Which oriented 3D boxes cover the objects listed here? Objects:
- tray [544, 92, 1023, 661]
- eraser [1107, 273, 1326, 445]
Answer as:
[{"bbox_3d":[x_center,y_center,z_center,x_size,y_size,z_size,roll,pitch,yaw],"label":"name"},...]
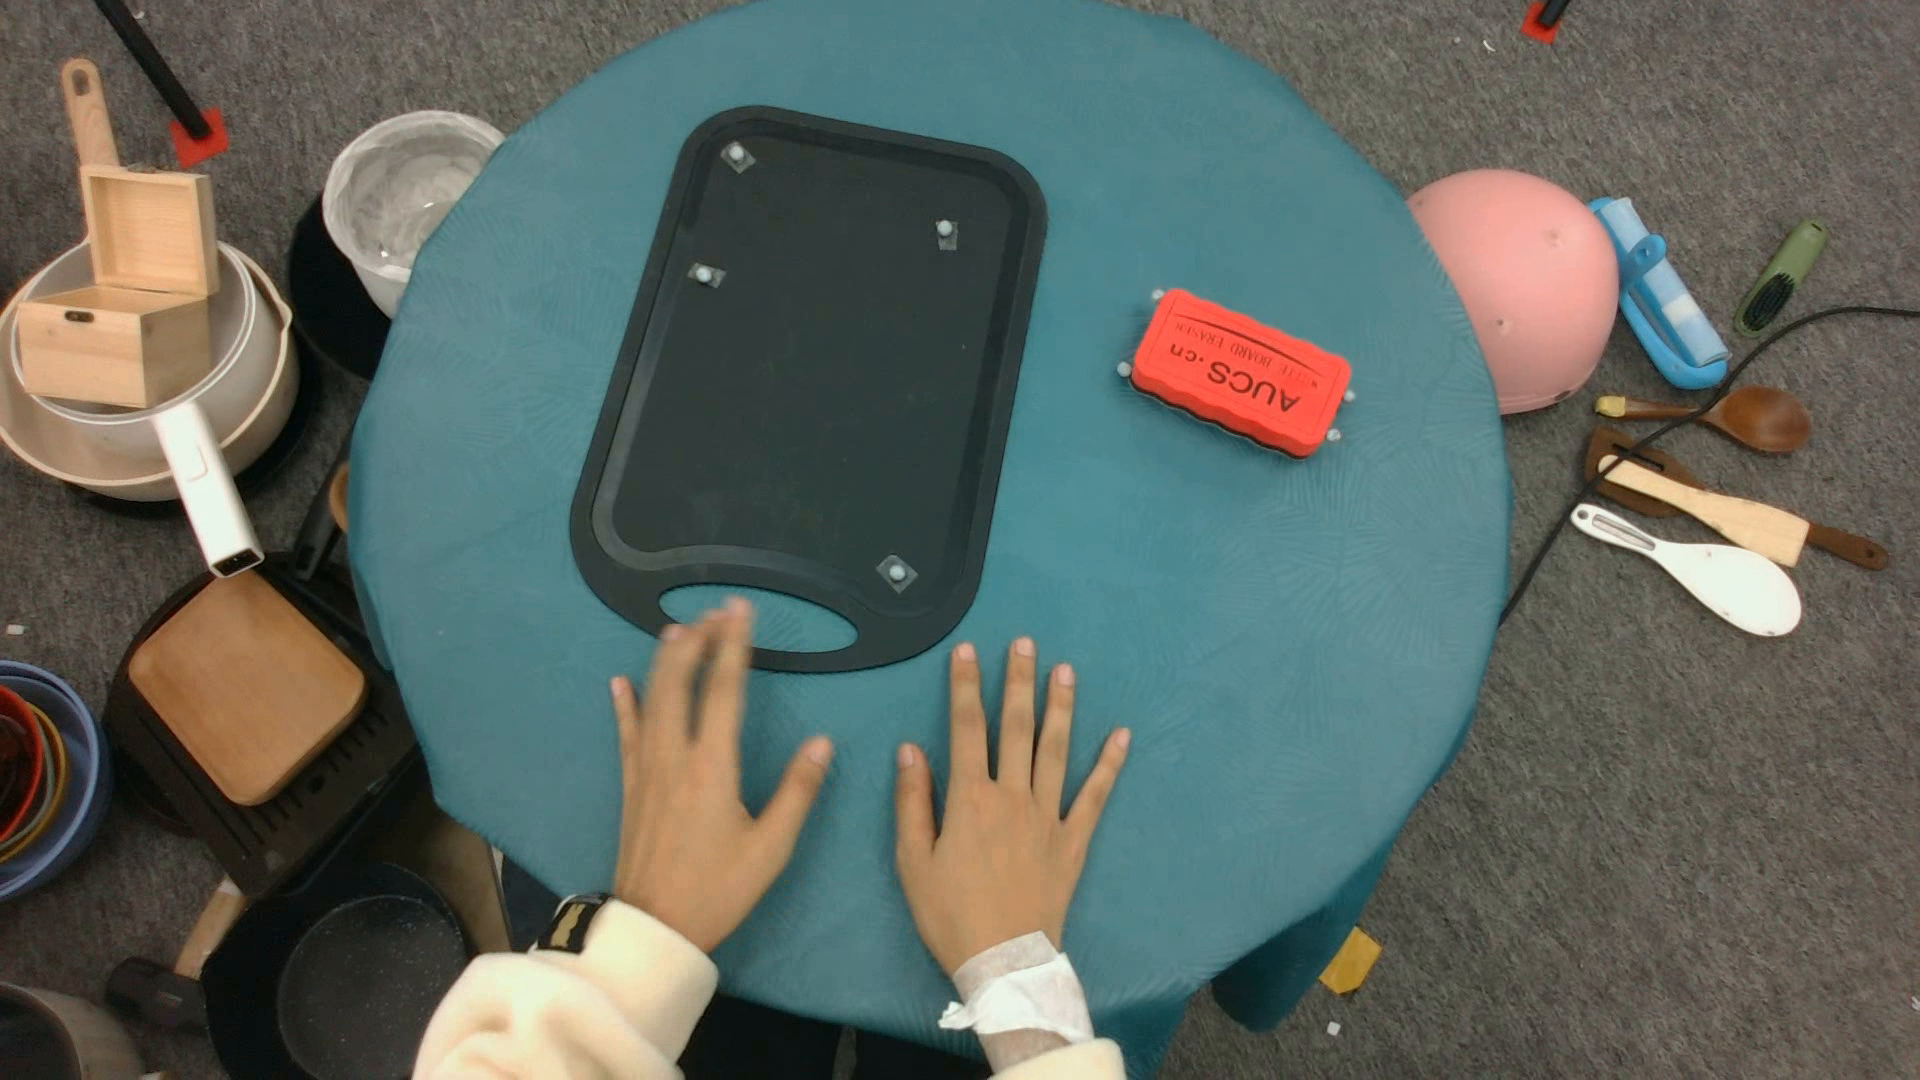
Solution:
[{"bbox_3d":[-0.087,-0.094,0.726,0.211,0.010,0.326,11,69,-1],"label":"tray"},{"bbox_3d":[0.137,-0.097,0.738,0.108,0.023,0.059,25,69,5],"label":"eraser"}]
